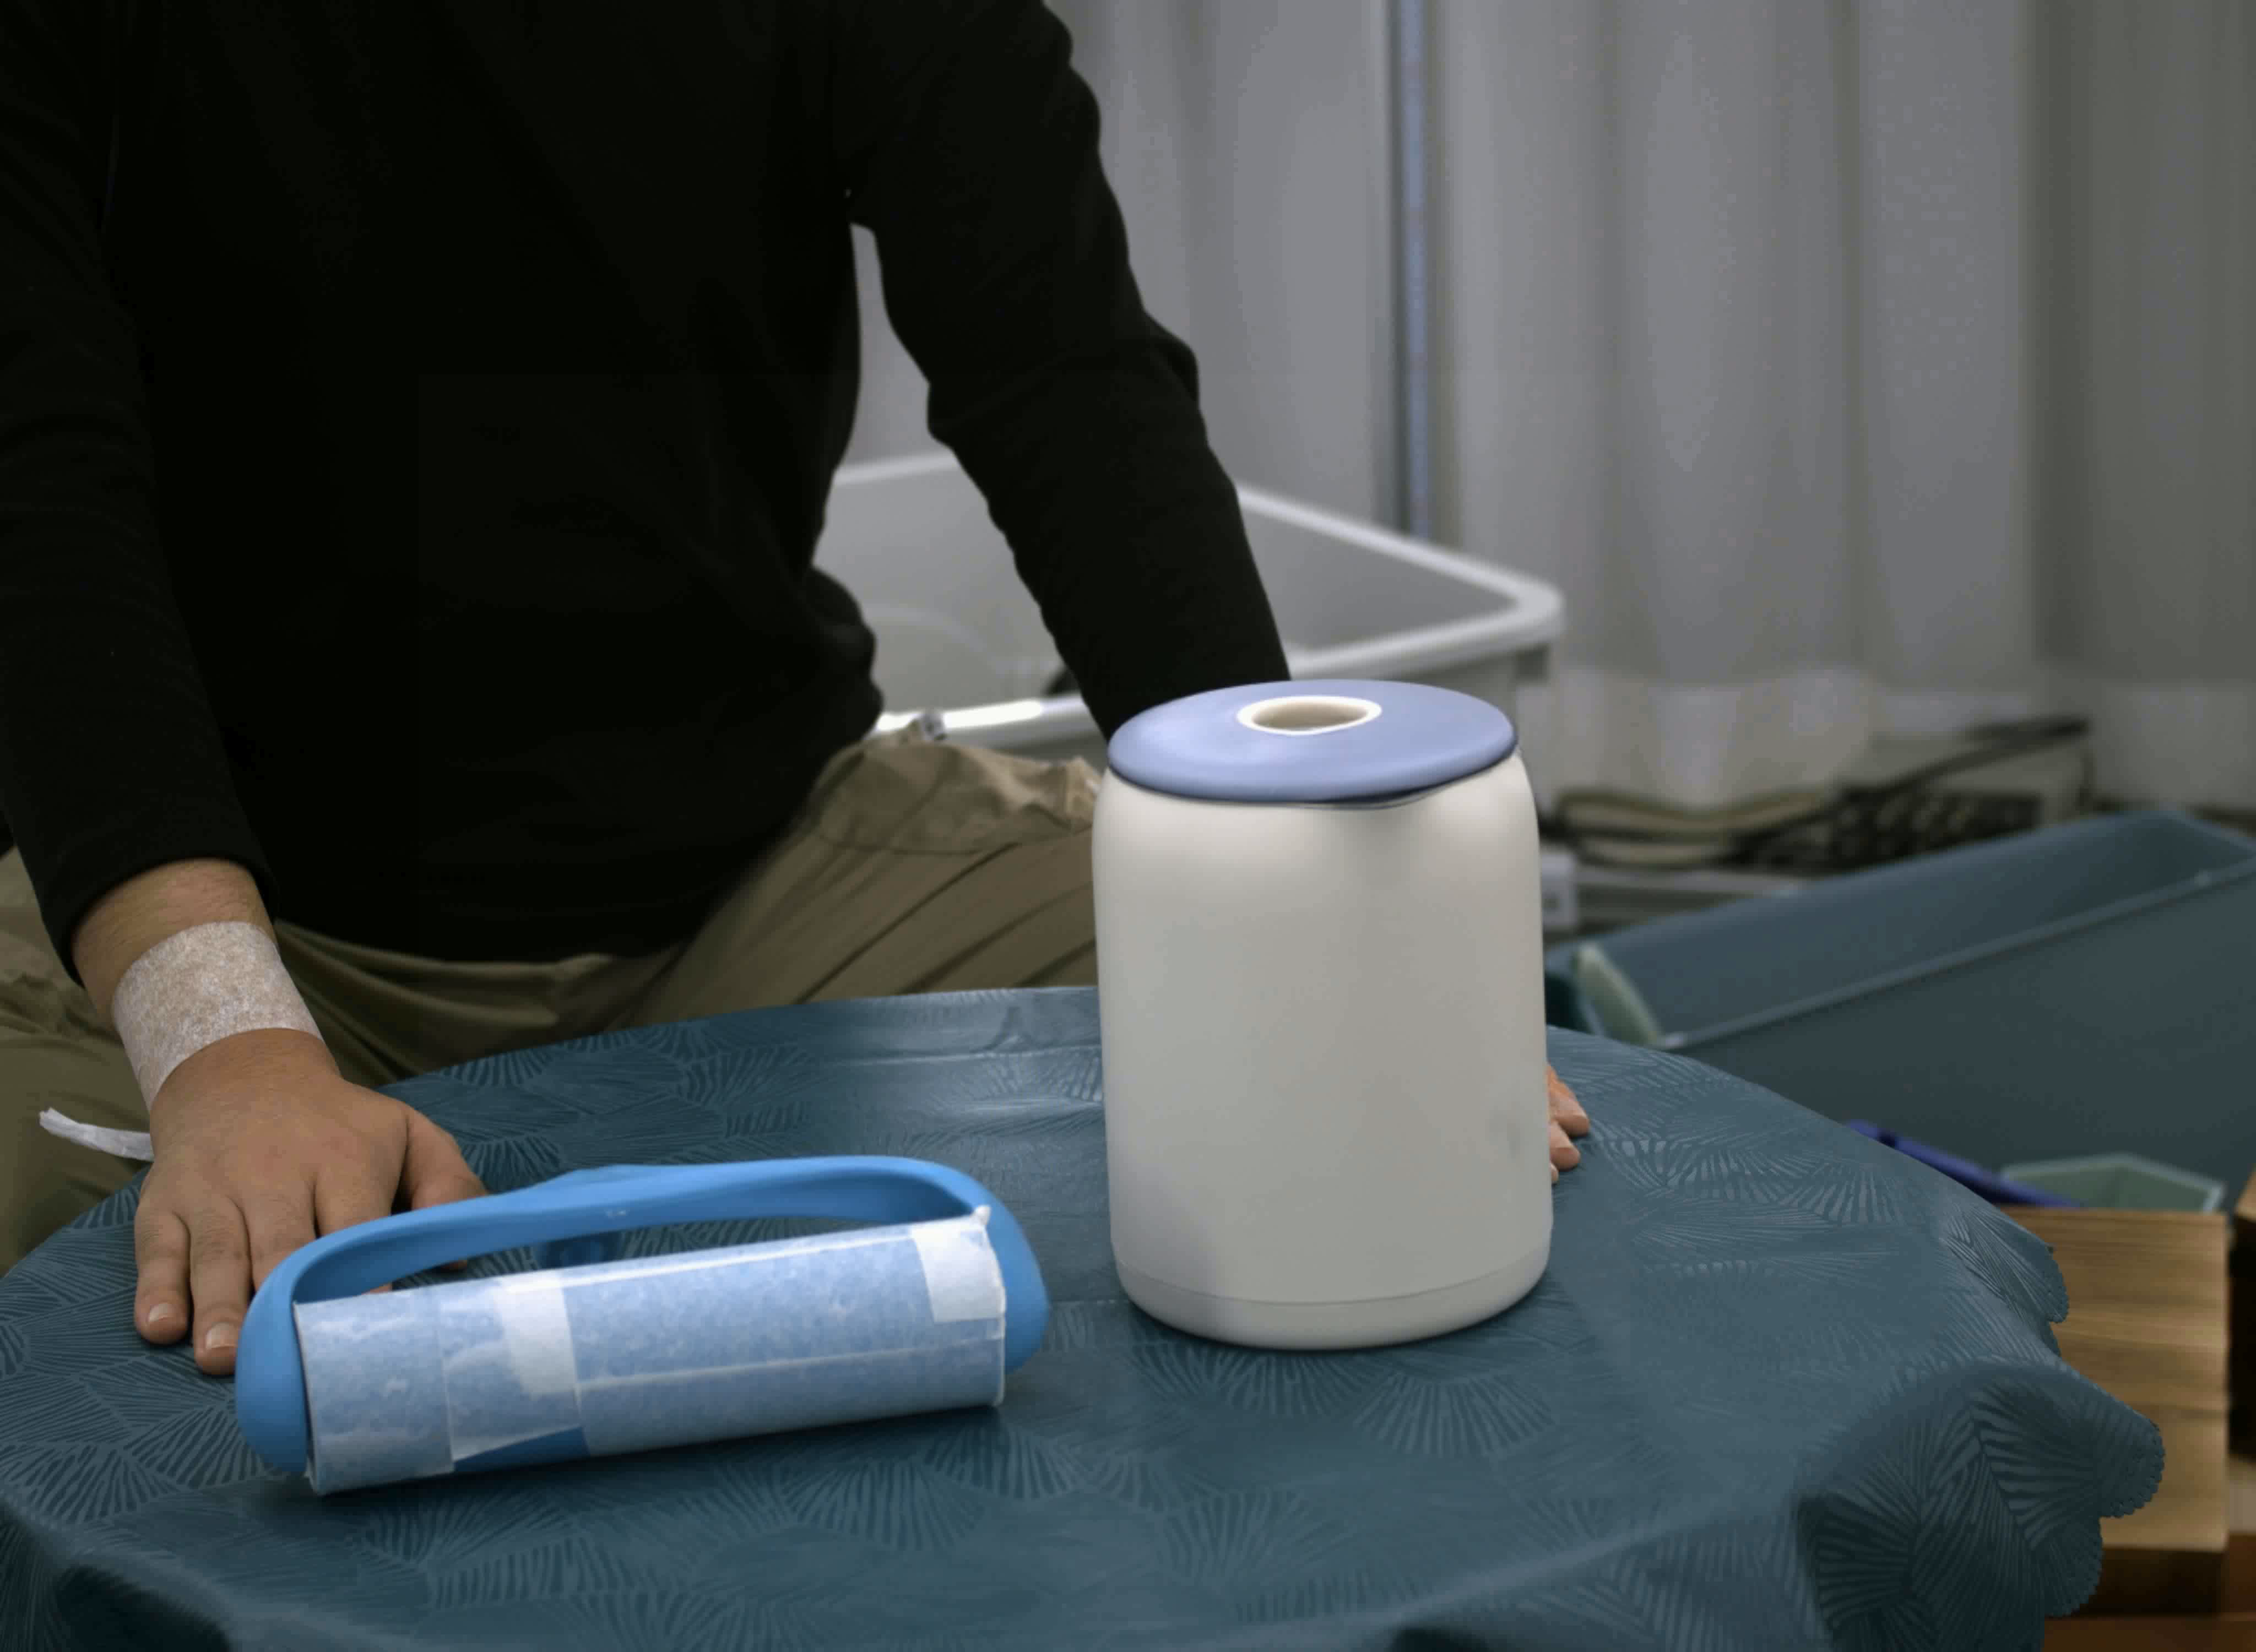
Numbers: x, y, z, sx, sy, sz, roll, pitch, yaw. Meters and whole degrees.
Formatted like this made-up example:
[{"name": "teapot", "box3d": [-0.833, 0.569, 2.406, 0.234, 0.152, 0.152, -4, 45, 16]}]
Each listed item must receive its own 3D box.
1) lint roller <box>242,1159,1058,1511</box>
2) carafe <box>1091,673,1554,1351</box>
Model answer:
[{"name": "lint roller", "box3d": [-0.148, 0.130, 1.571, 0.228, 0.067, 0.182, -10, 20, -14]}, {"name": "carafe", "box3d": [0.049, 0.048, 1.624, 0.131, 0.182, 0.192, -6, 12, -17]}]
